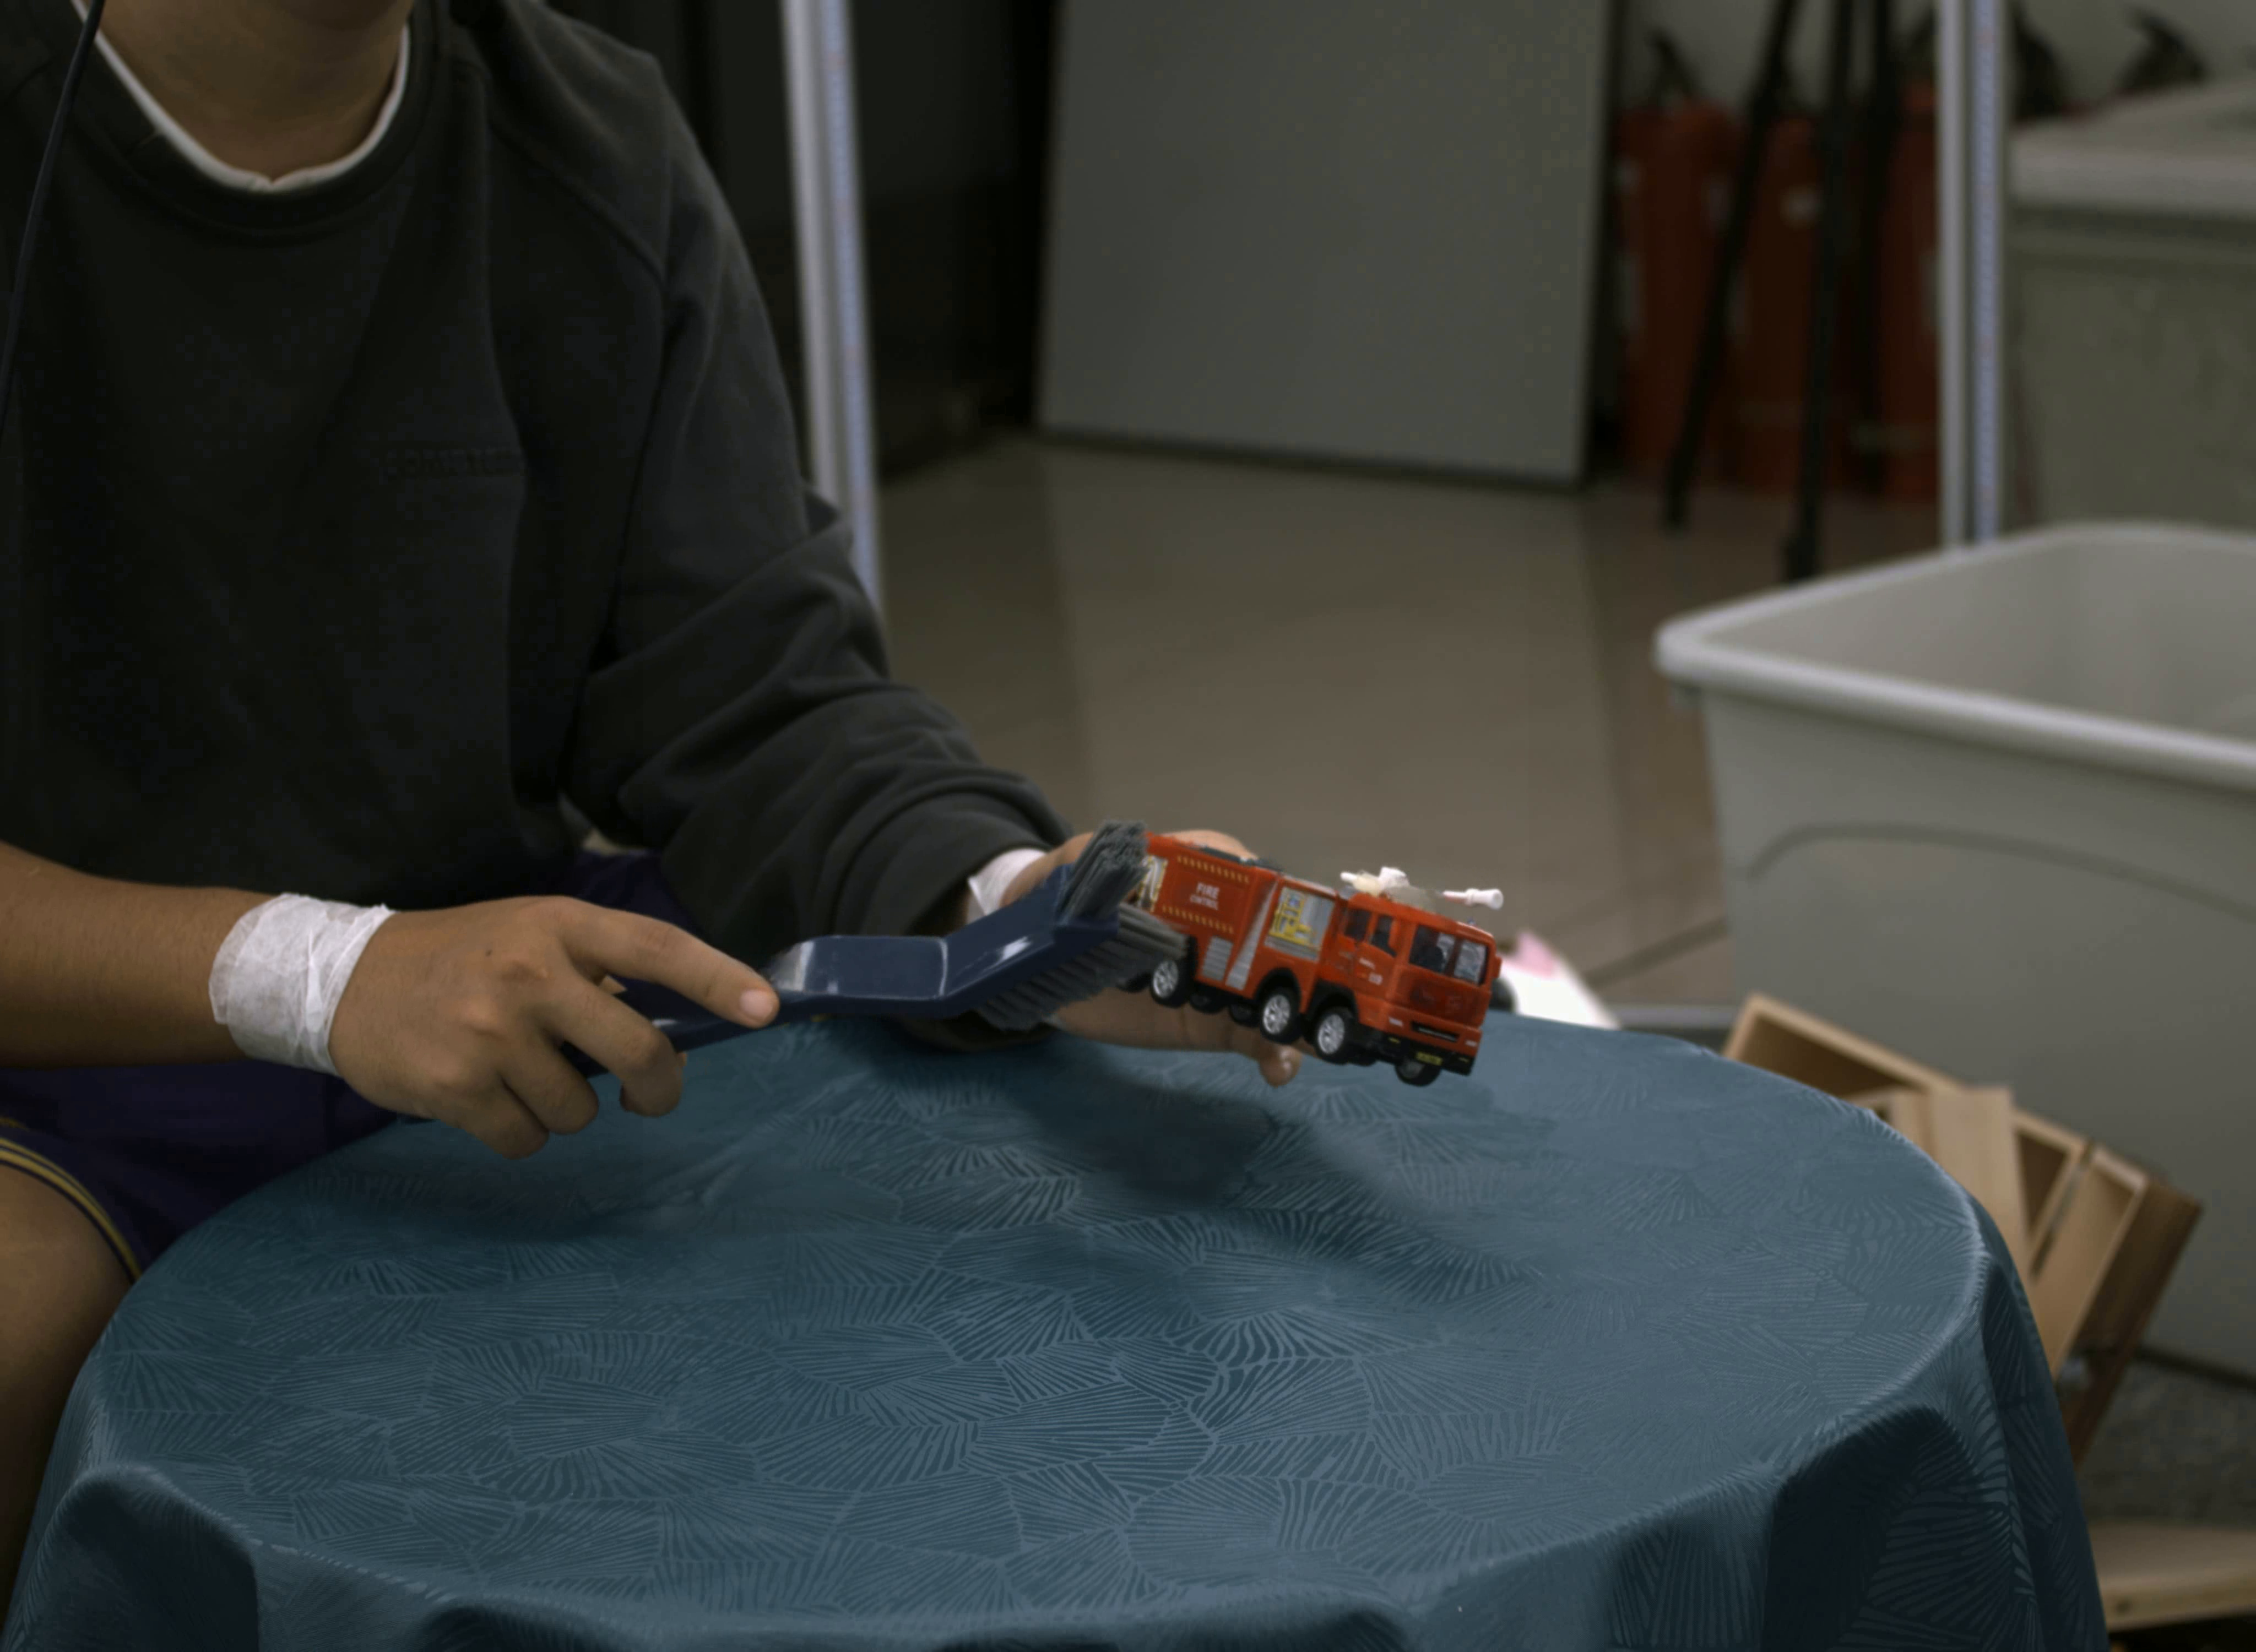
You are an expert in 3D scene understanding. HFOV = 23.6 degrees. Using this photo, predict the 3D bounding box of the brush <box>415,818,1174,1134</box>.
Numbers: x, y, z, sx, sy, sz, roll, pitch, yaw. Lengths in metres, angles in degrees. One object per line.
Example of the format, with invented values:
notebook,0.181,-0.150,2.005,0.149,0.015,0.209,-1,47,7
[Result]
brush,-0.117,0.049,1.748,0.272,0.034,0.095,-11,-33,15

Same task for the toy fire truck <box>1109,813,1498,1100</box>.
toy fire truck,0.054,0.039,1.743,0.053,0.071,0.170,18,-2,-36
